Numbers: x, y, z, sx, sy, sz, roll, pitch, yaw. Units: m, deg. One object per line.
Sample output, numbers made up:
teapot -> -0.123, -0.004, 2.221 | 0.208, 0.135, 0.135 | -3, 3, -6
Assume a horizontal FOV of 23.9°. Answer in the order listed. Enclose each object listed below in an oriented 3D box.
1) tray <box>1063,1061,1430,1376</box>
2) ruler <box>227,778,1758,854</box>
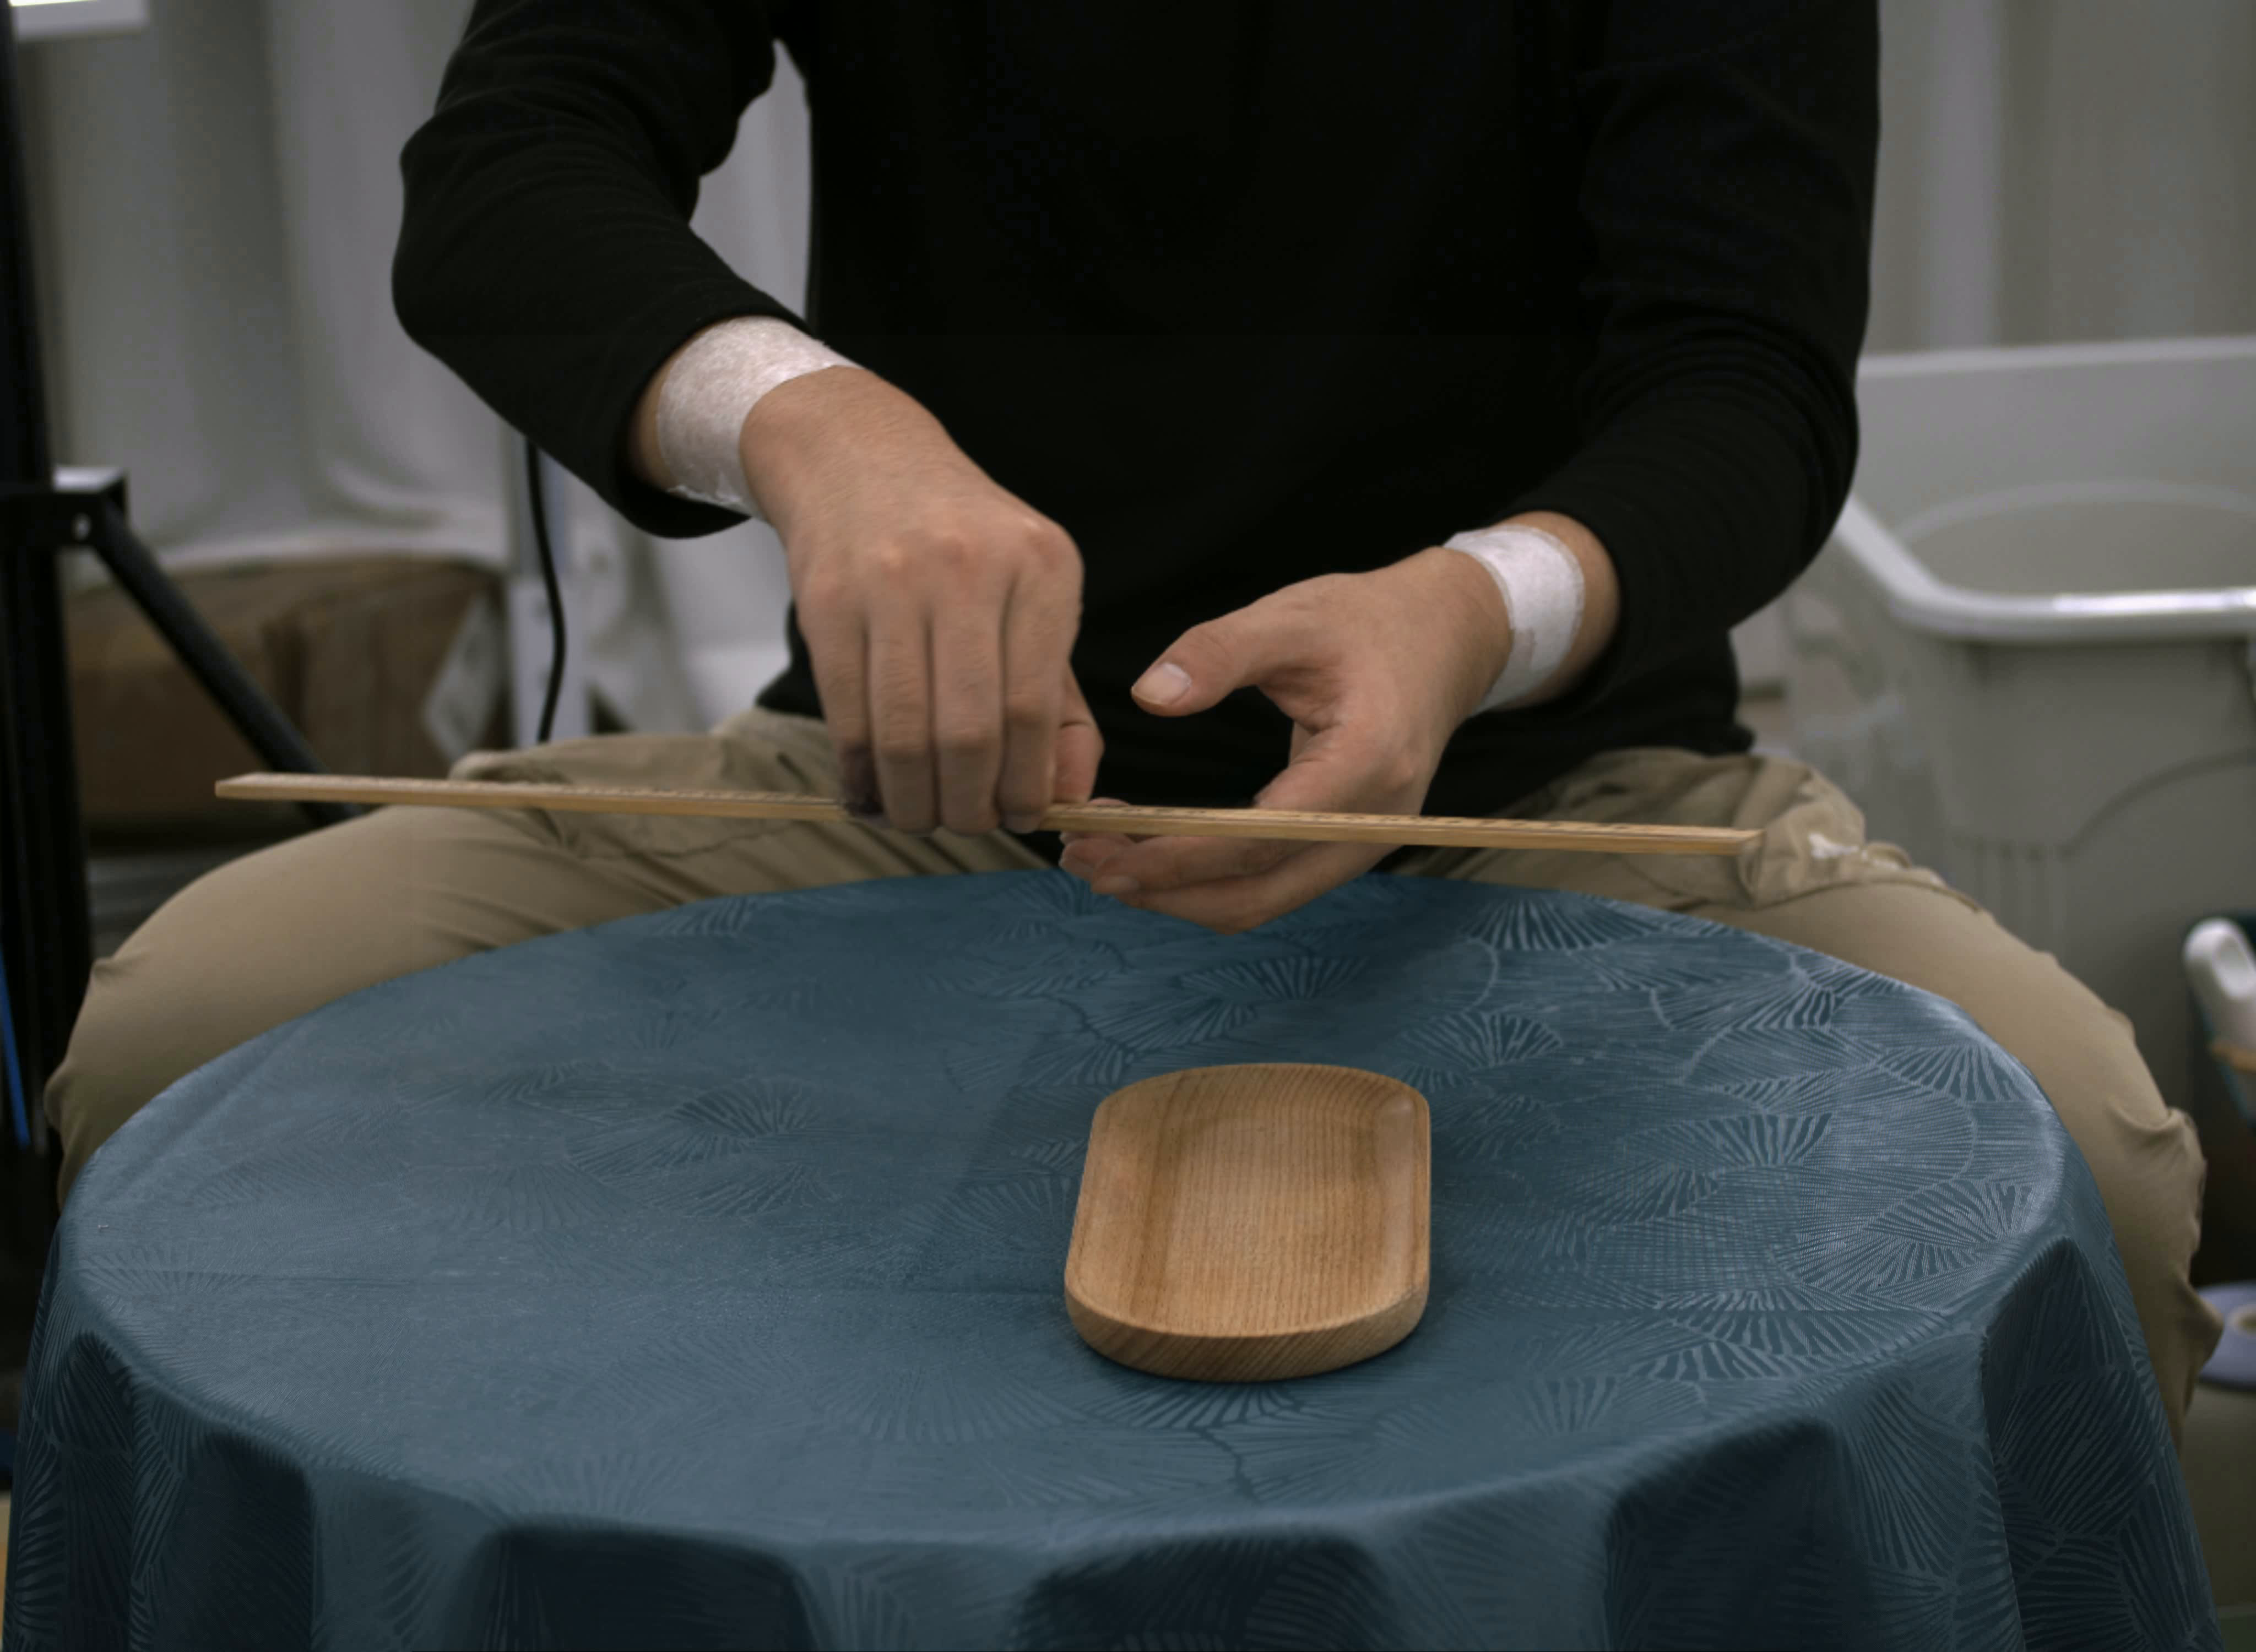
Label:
tray -> 0.034, 0.109, 1.516 | 0.101, 0.020, 0.232 | -1, 14, 1
ruler -> -0.054, -0.004, 1.566 | 0.508, 0.006, 0.026 | 2, 5, 28
